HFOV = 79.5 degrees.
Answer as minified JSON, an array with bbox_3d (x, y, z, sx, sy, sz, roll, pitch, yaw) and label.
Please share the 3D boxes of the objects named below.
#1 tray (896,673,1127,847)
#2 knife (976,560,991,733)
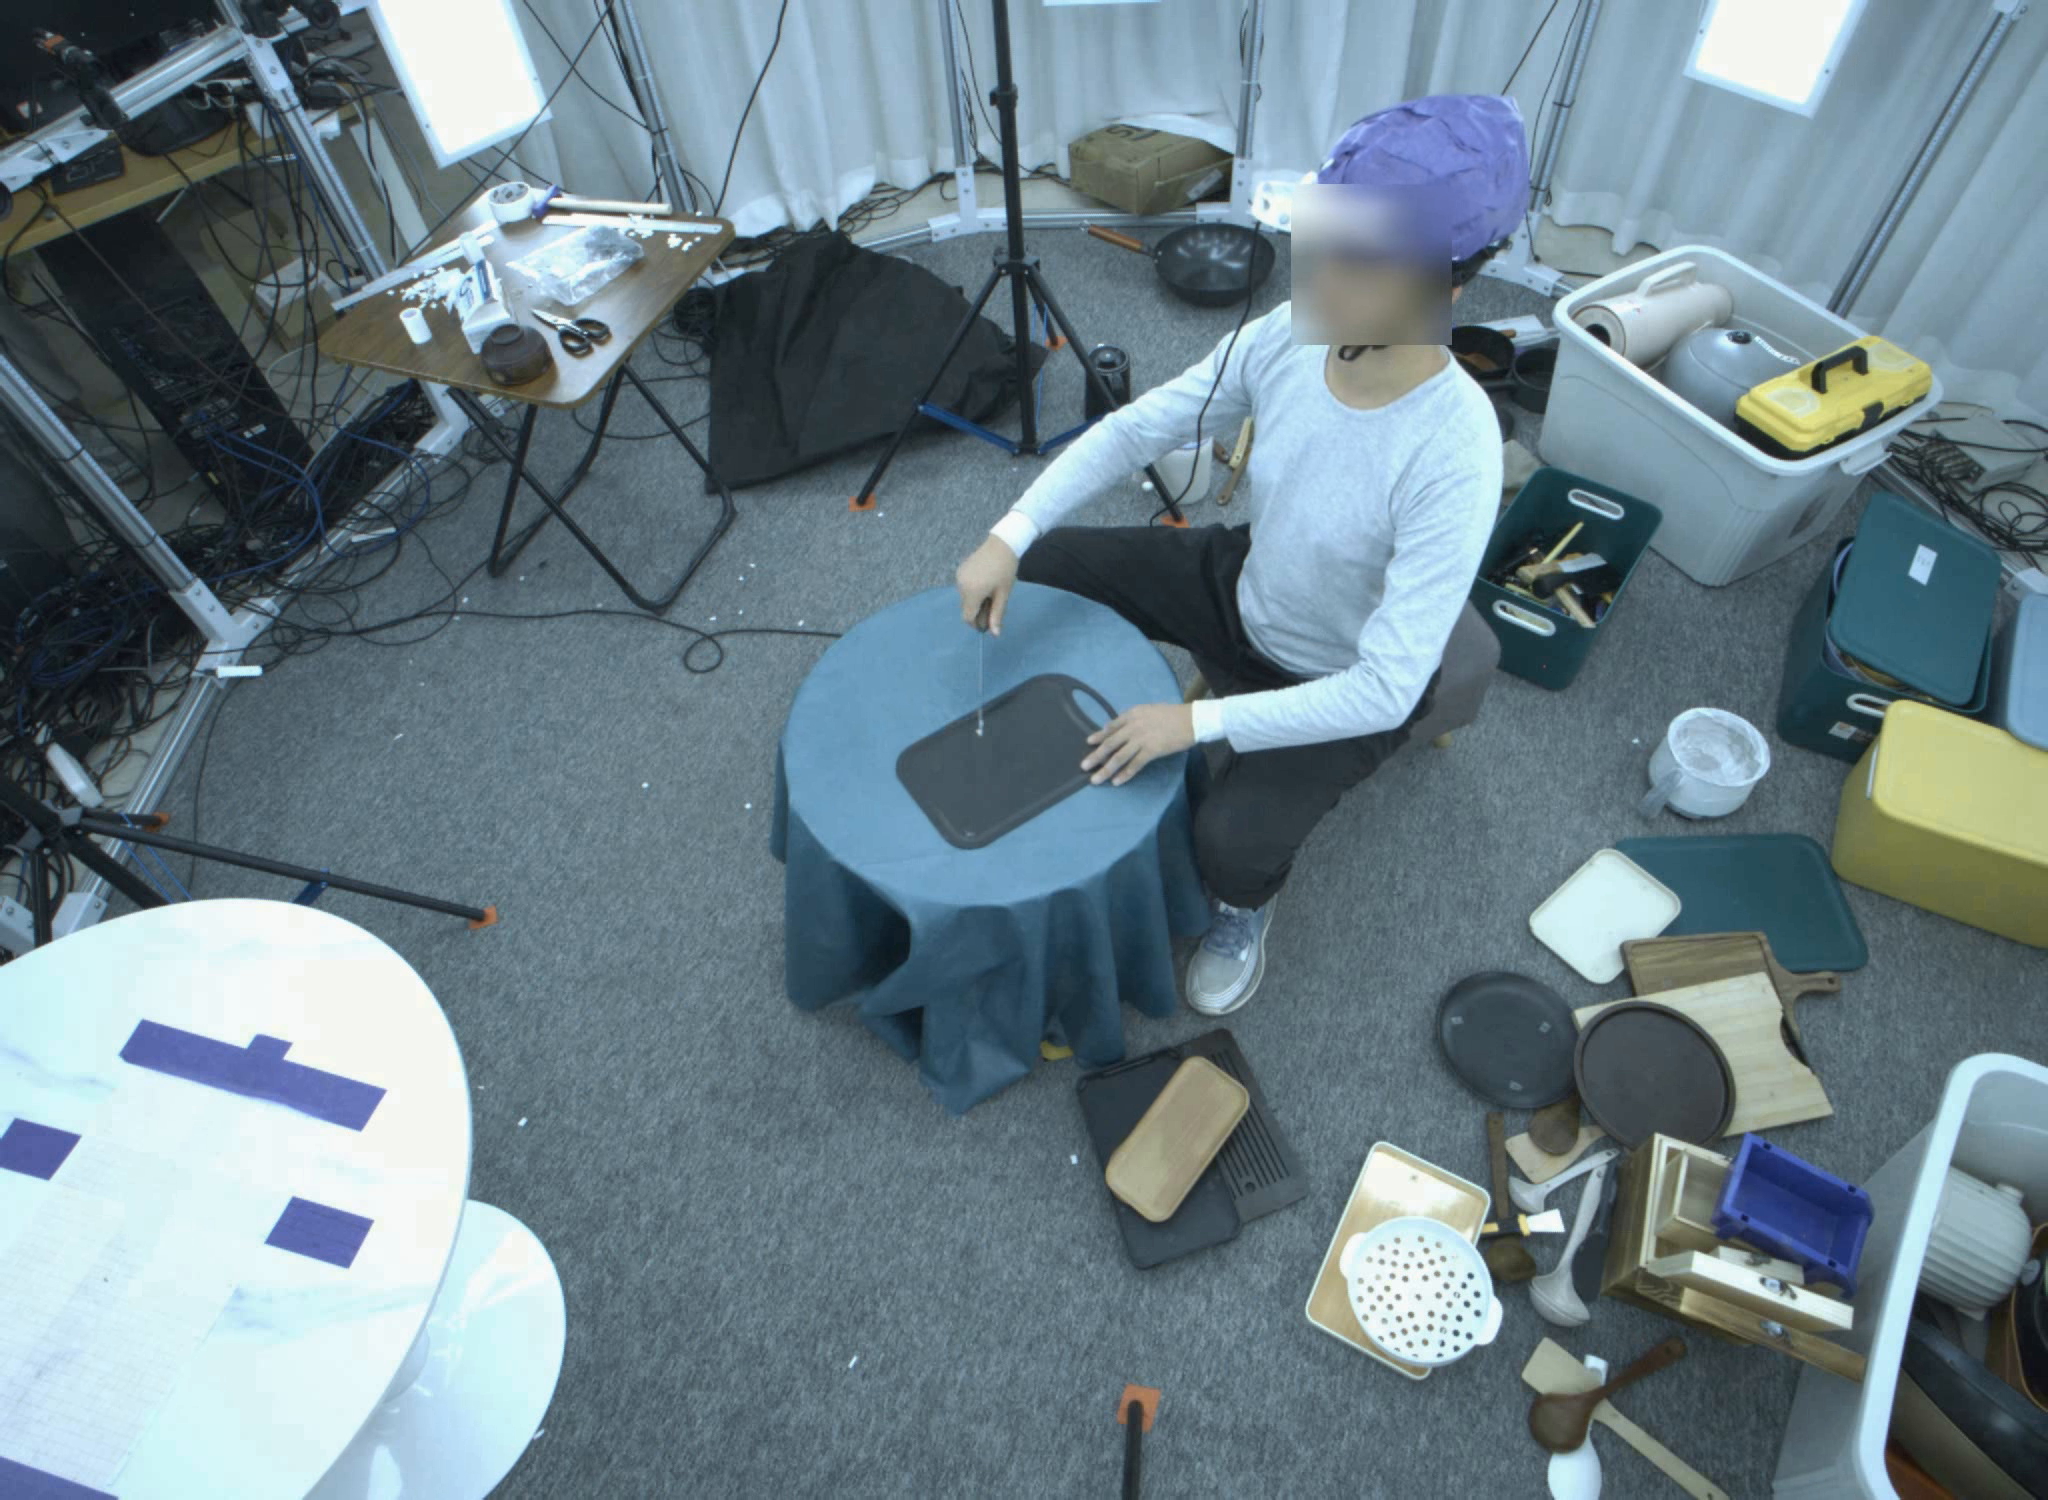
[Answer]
[{"bbox_3d":[-0.012,0.003,1.790,0.328,0.010,0.207,-29,59,-18],"label":"tray"},{"bbox_3d":[-0.063,-0.154,1.791,0.020,0.050,0.286,3,65,-3],"label":"knife"}]
